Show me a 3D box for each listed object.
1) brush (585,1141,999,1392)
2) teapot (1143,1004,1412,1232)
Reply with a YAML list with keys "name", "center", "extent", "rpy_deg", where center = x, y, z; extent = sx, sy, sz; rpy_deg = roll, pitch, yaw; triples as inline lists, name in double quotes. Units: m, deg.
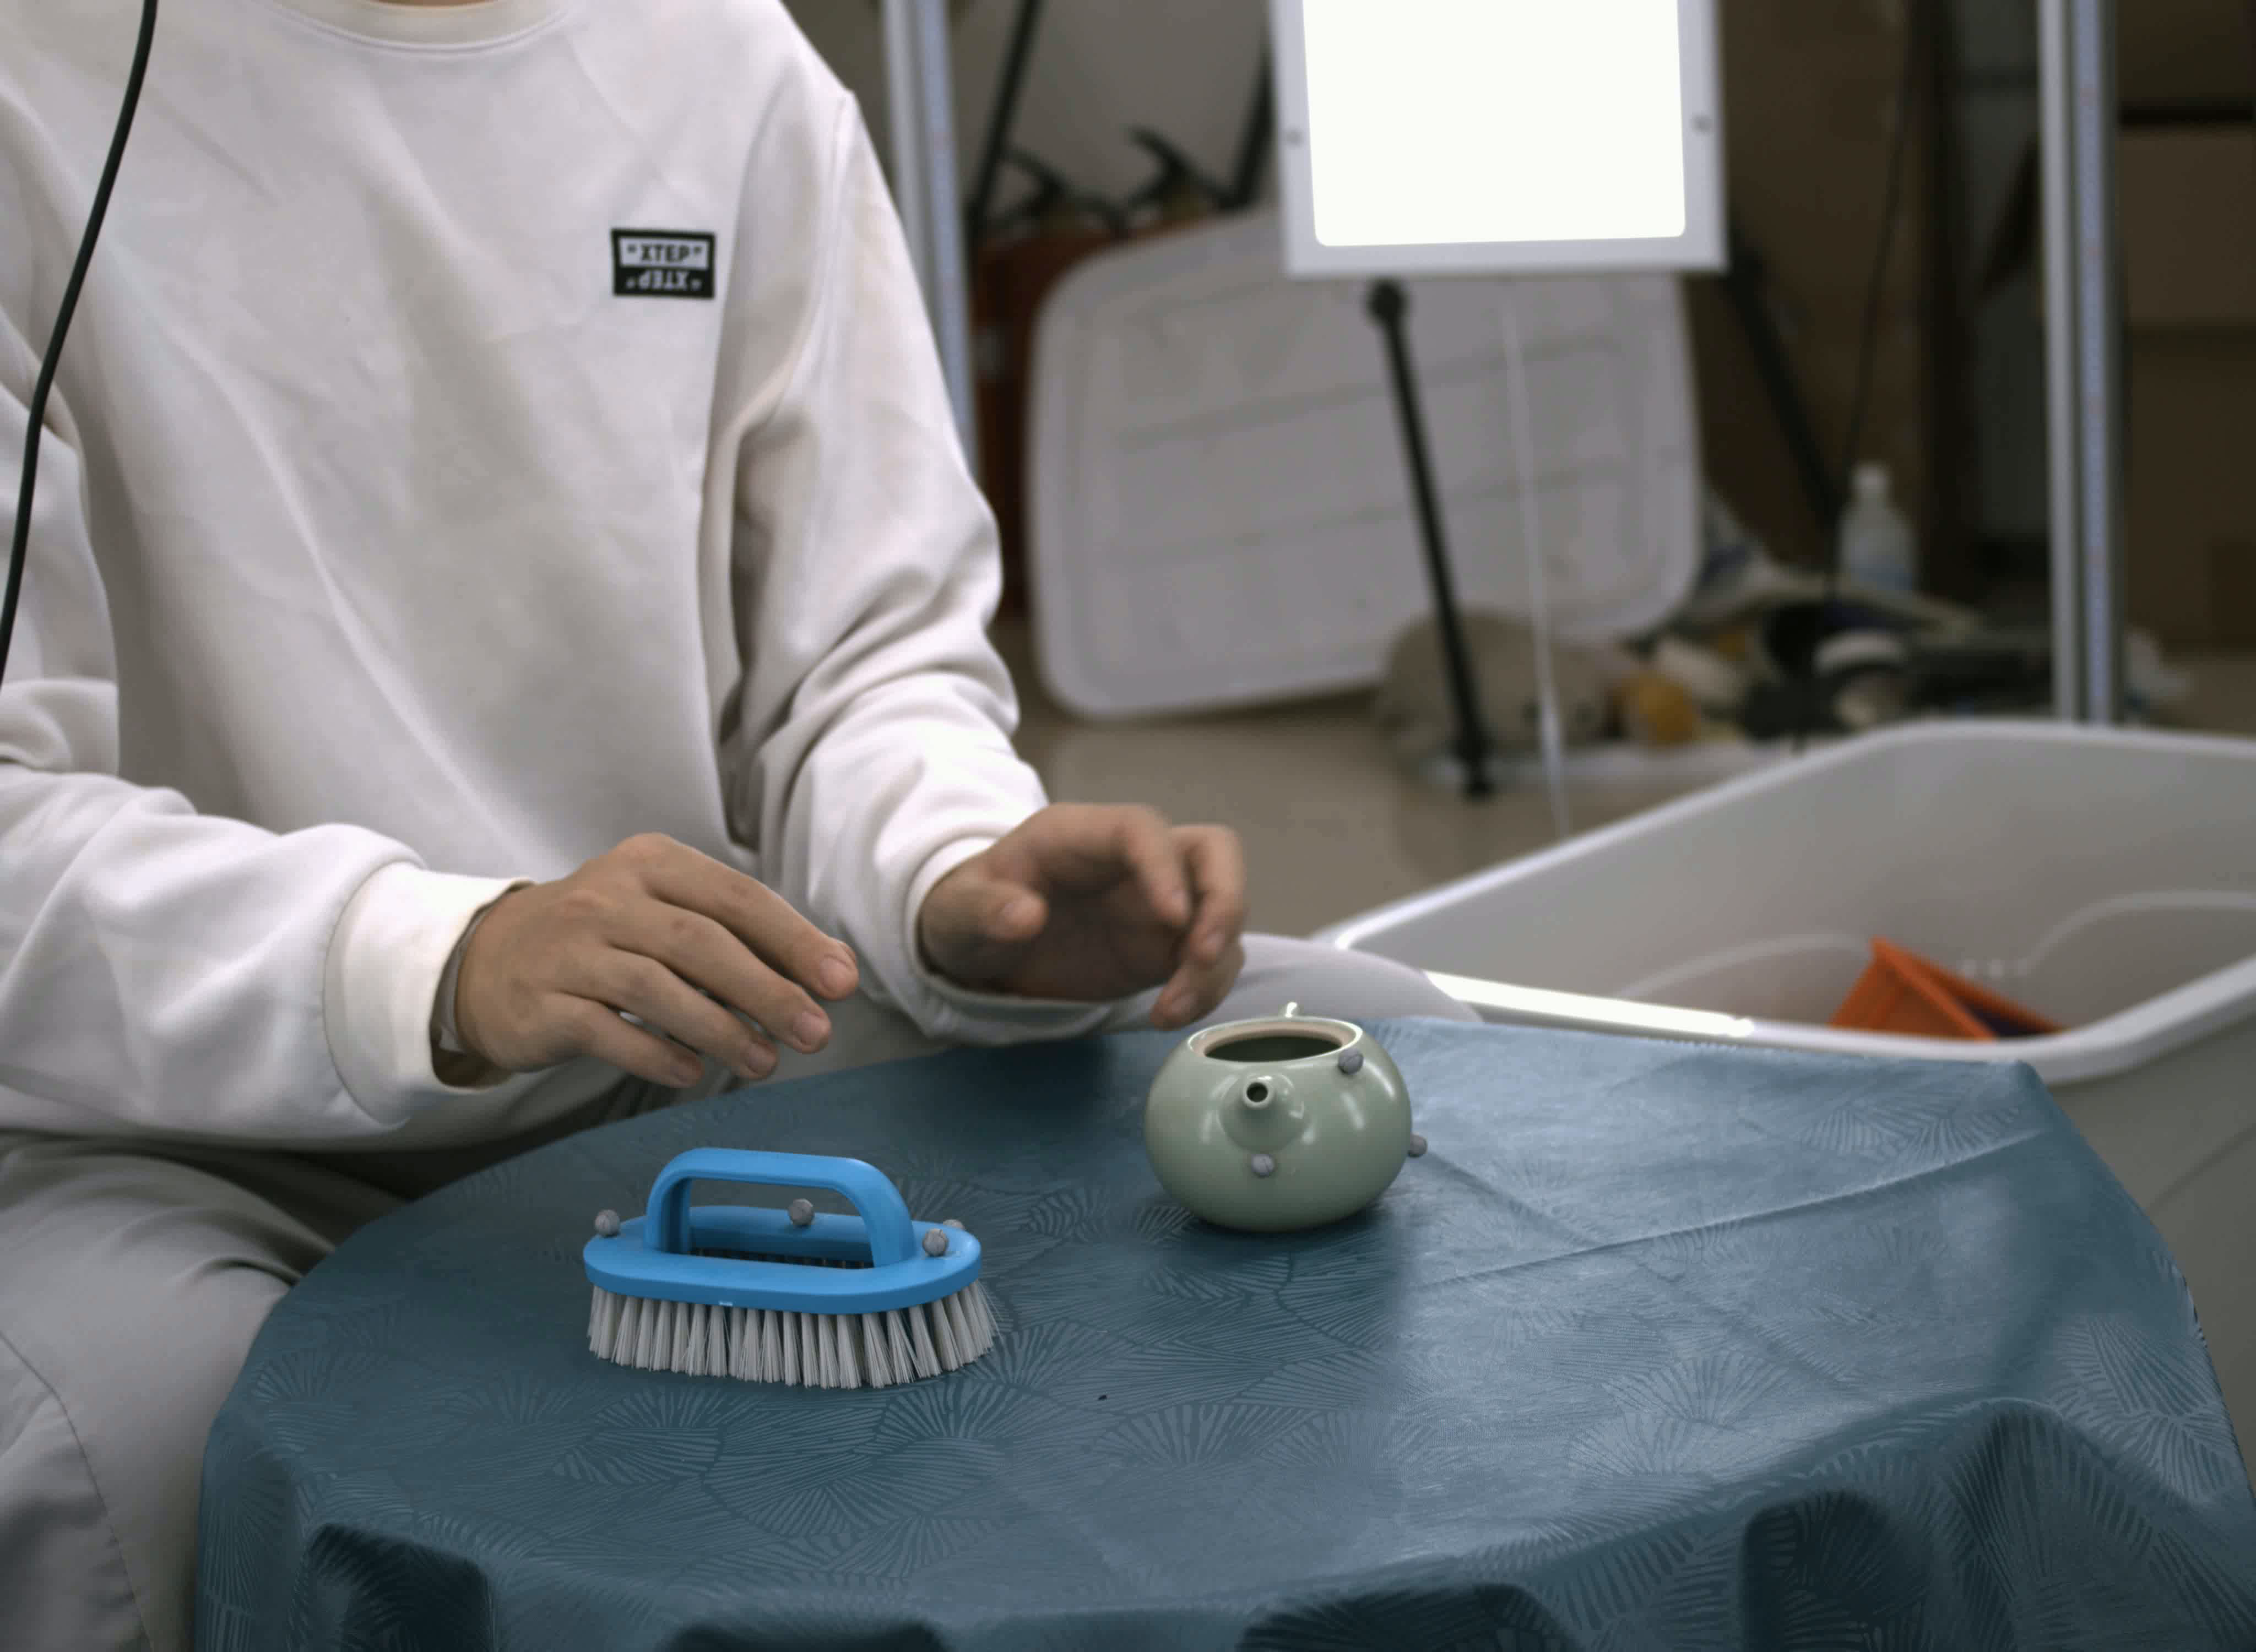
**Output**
- name: "brush"
  center: [-0.112, 0.134, 1.769]
  extent: [0.144, 0.064, 0.082]
  rpy_deg: [3, 21, 30]
- name: "teapot"
  center: [0.053, 0.098, 1.871]
  extent: [0.092, 0.061, 0.127]
  rpy_deg: [-4, 12, 14]
